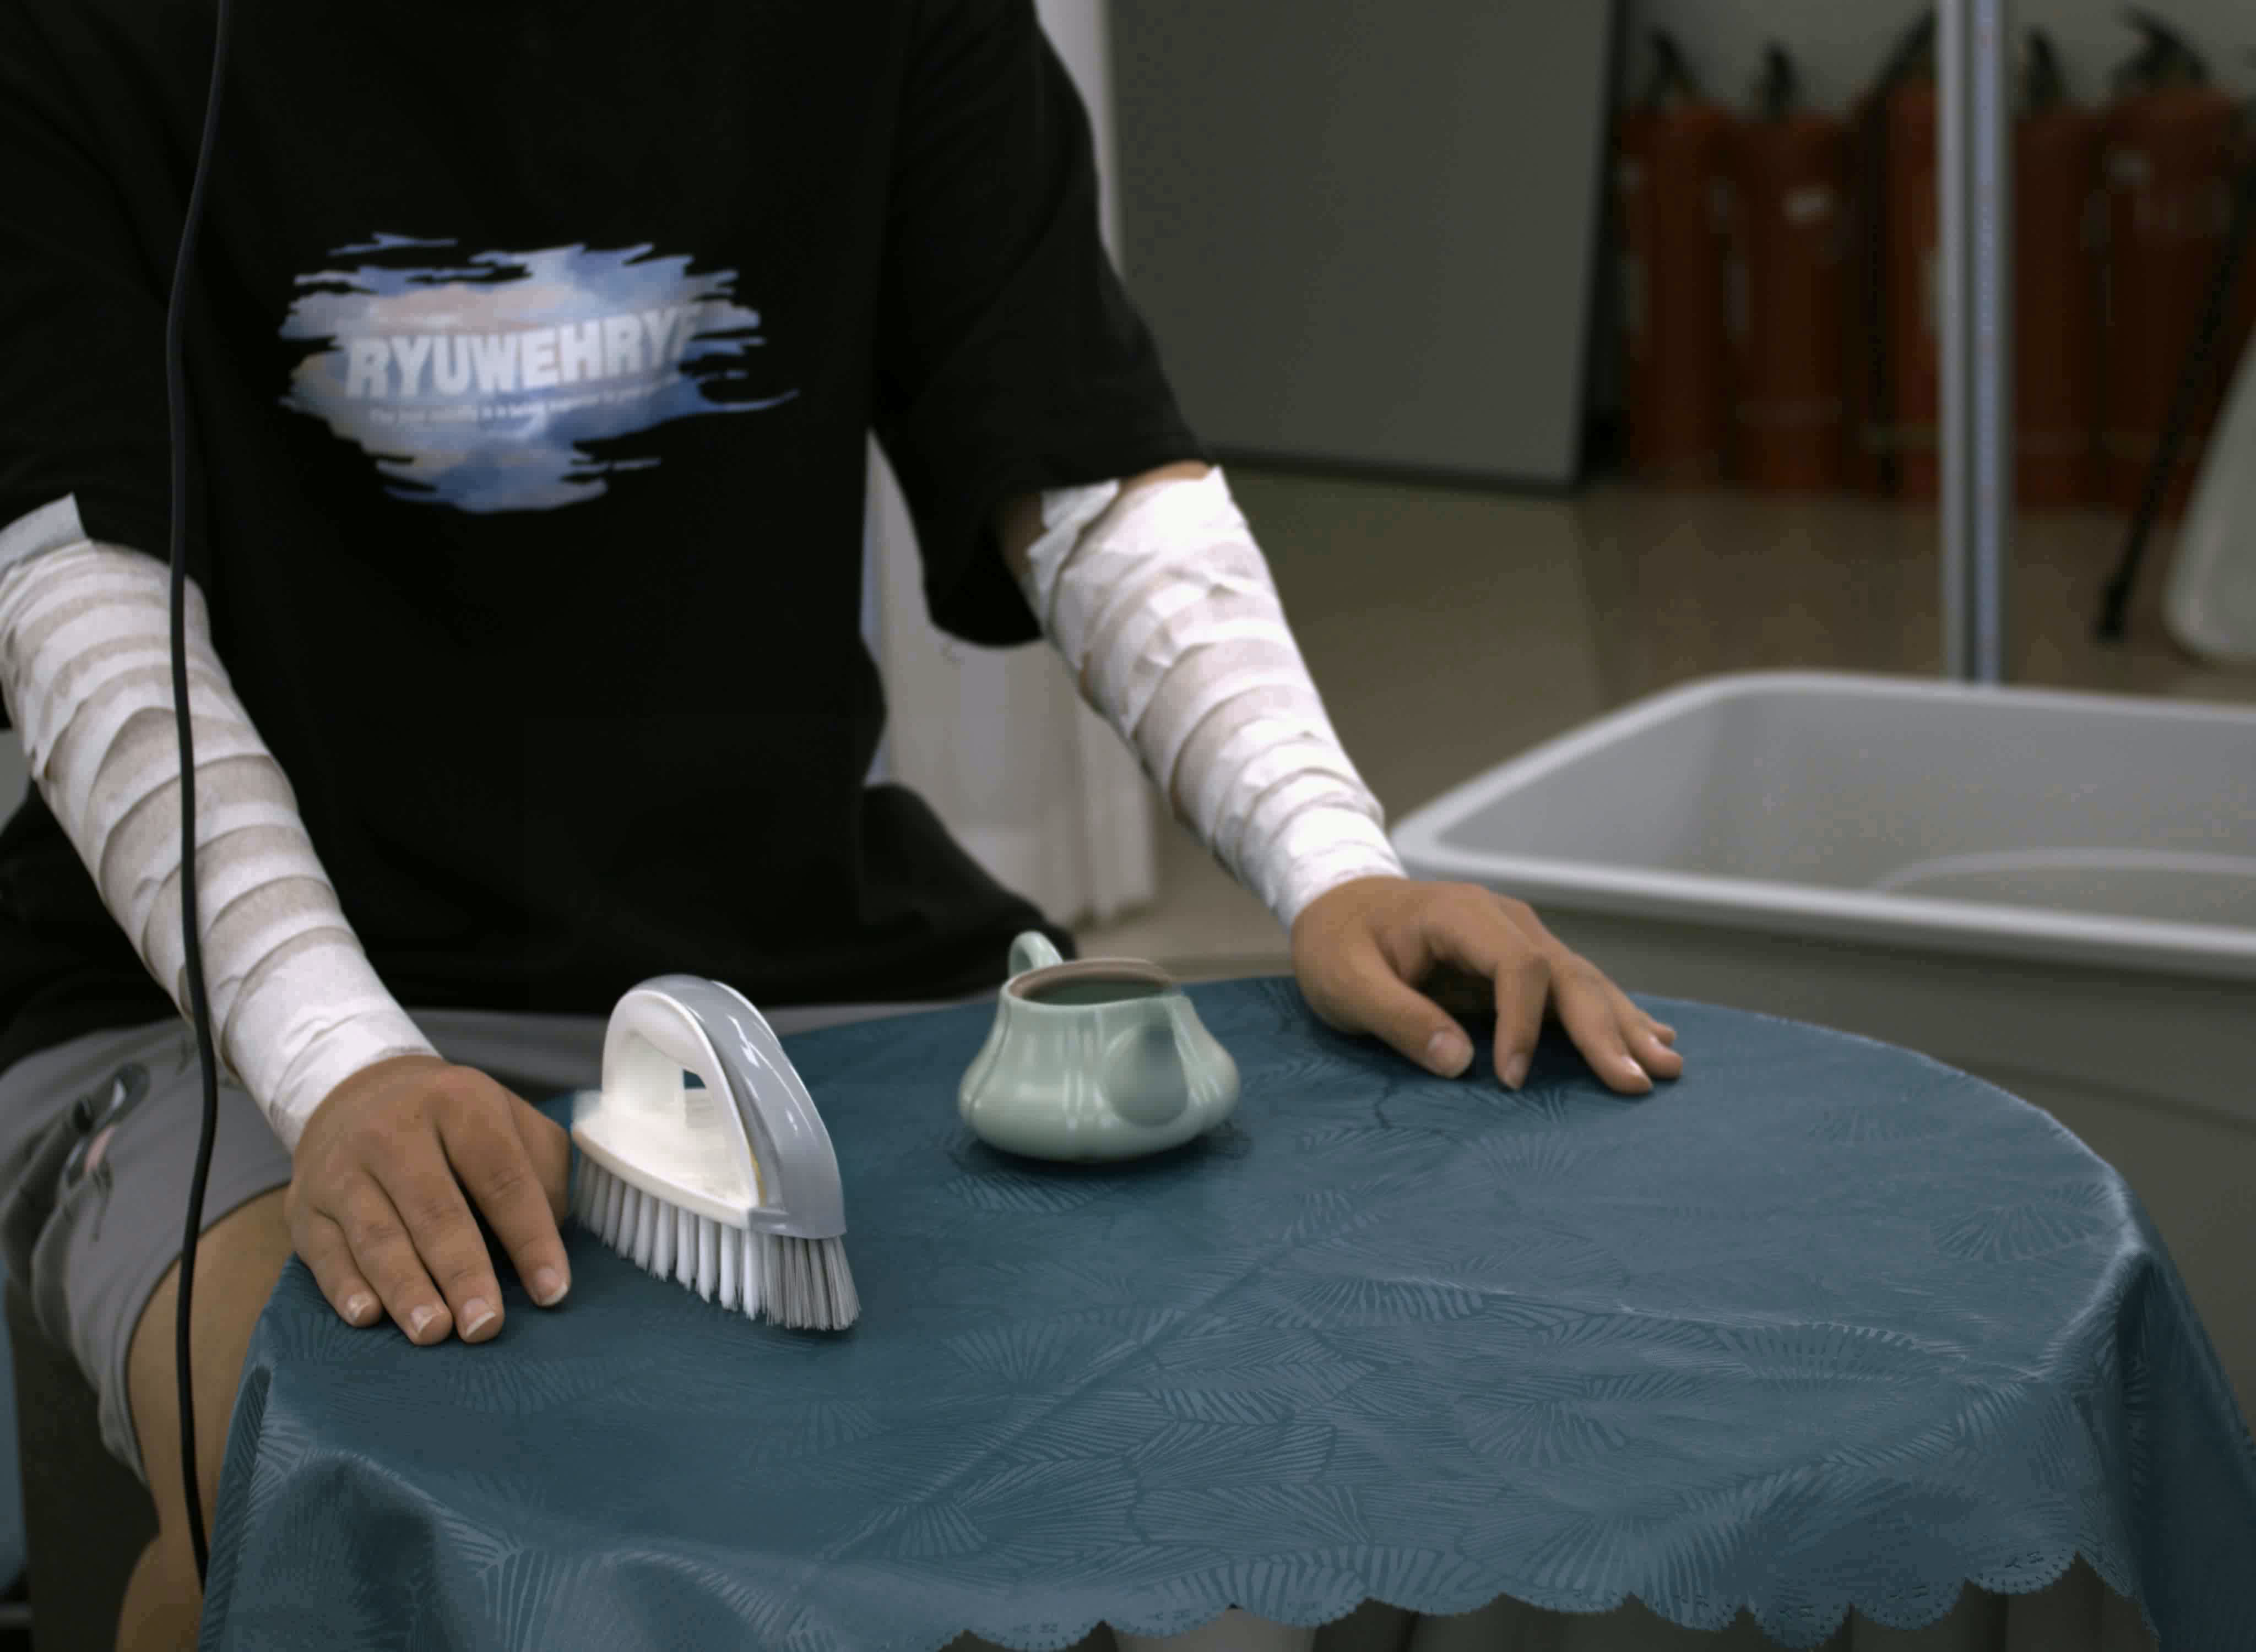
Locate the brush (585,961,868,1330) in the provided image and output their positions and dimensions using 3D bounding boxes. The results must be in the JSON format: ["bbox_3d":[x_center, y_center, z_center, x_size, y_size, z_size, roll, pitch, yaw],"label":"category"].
[{"bbox_3d":[-0.124,0.097,1.716,0.060,0.095,0.177,-13,17,-22],"label":"brush"}]

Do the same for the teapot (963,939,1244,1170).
[{"bbox_3d":[-0.011,0.078,1.825,0.094,0.062,0.138,-12,15,-22],"label":"teapot"}]
